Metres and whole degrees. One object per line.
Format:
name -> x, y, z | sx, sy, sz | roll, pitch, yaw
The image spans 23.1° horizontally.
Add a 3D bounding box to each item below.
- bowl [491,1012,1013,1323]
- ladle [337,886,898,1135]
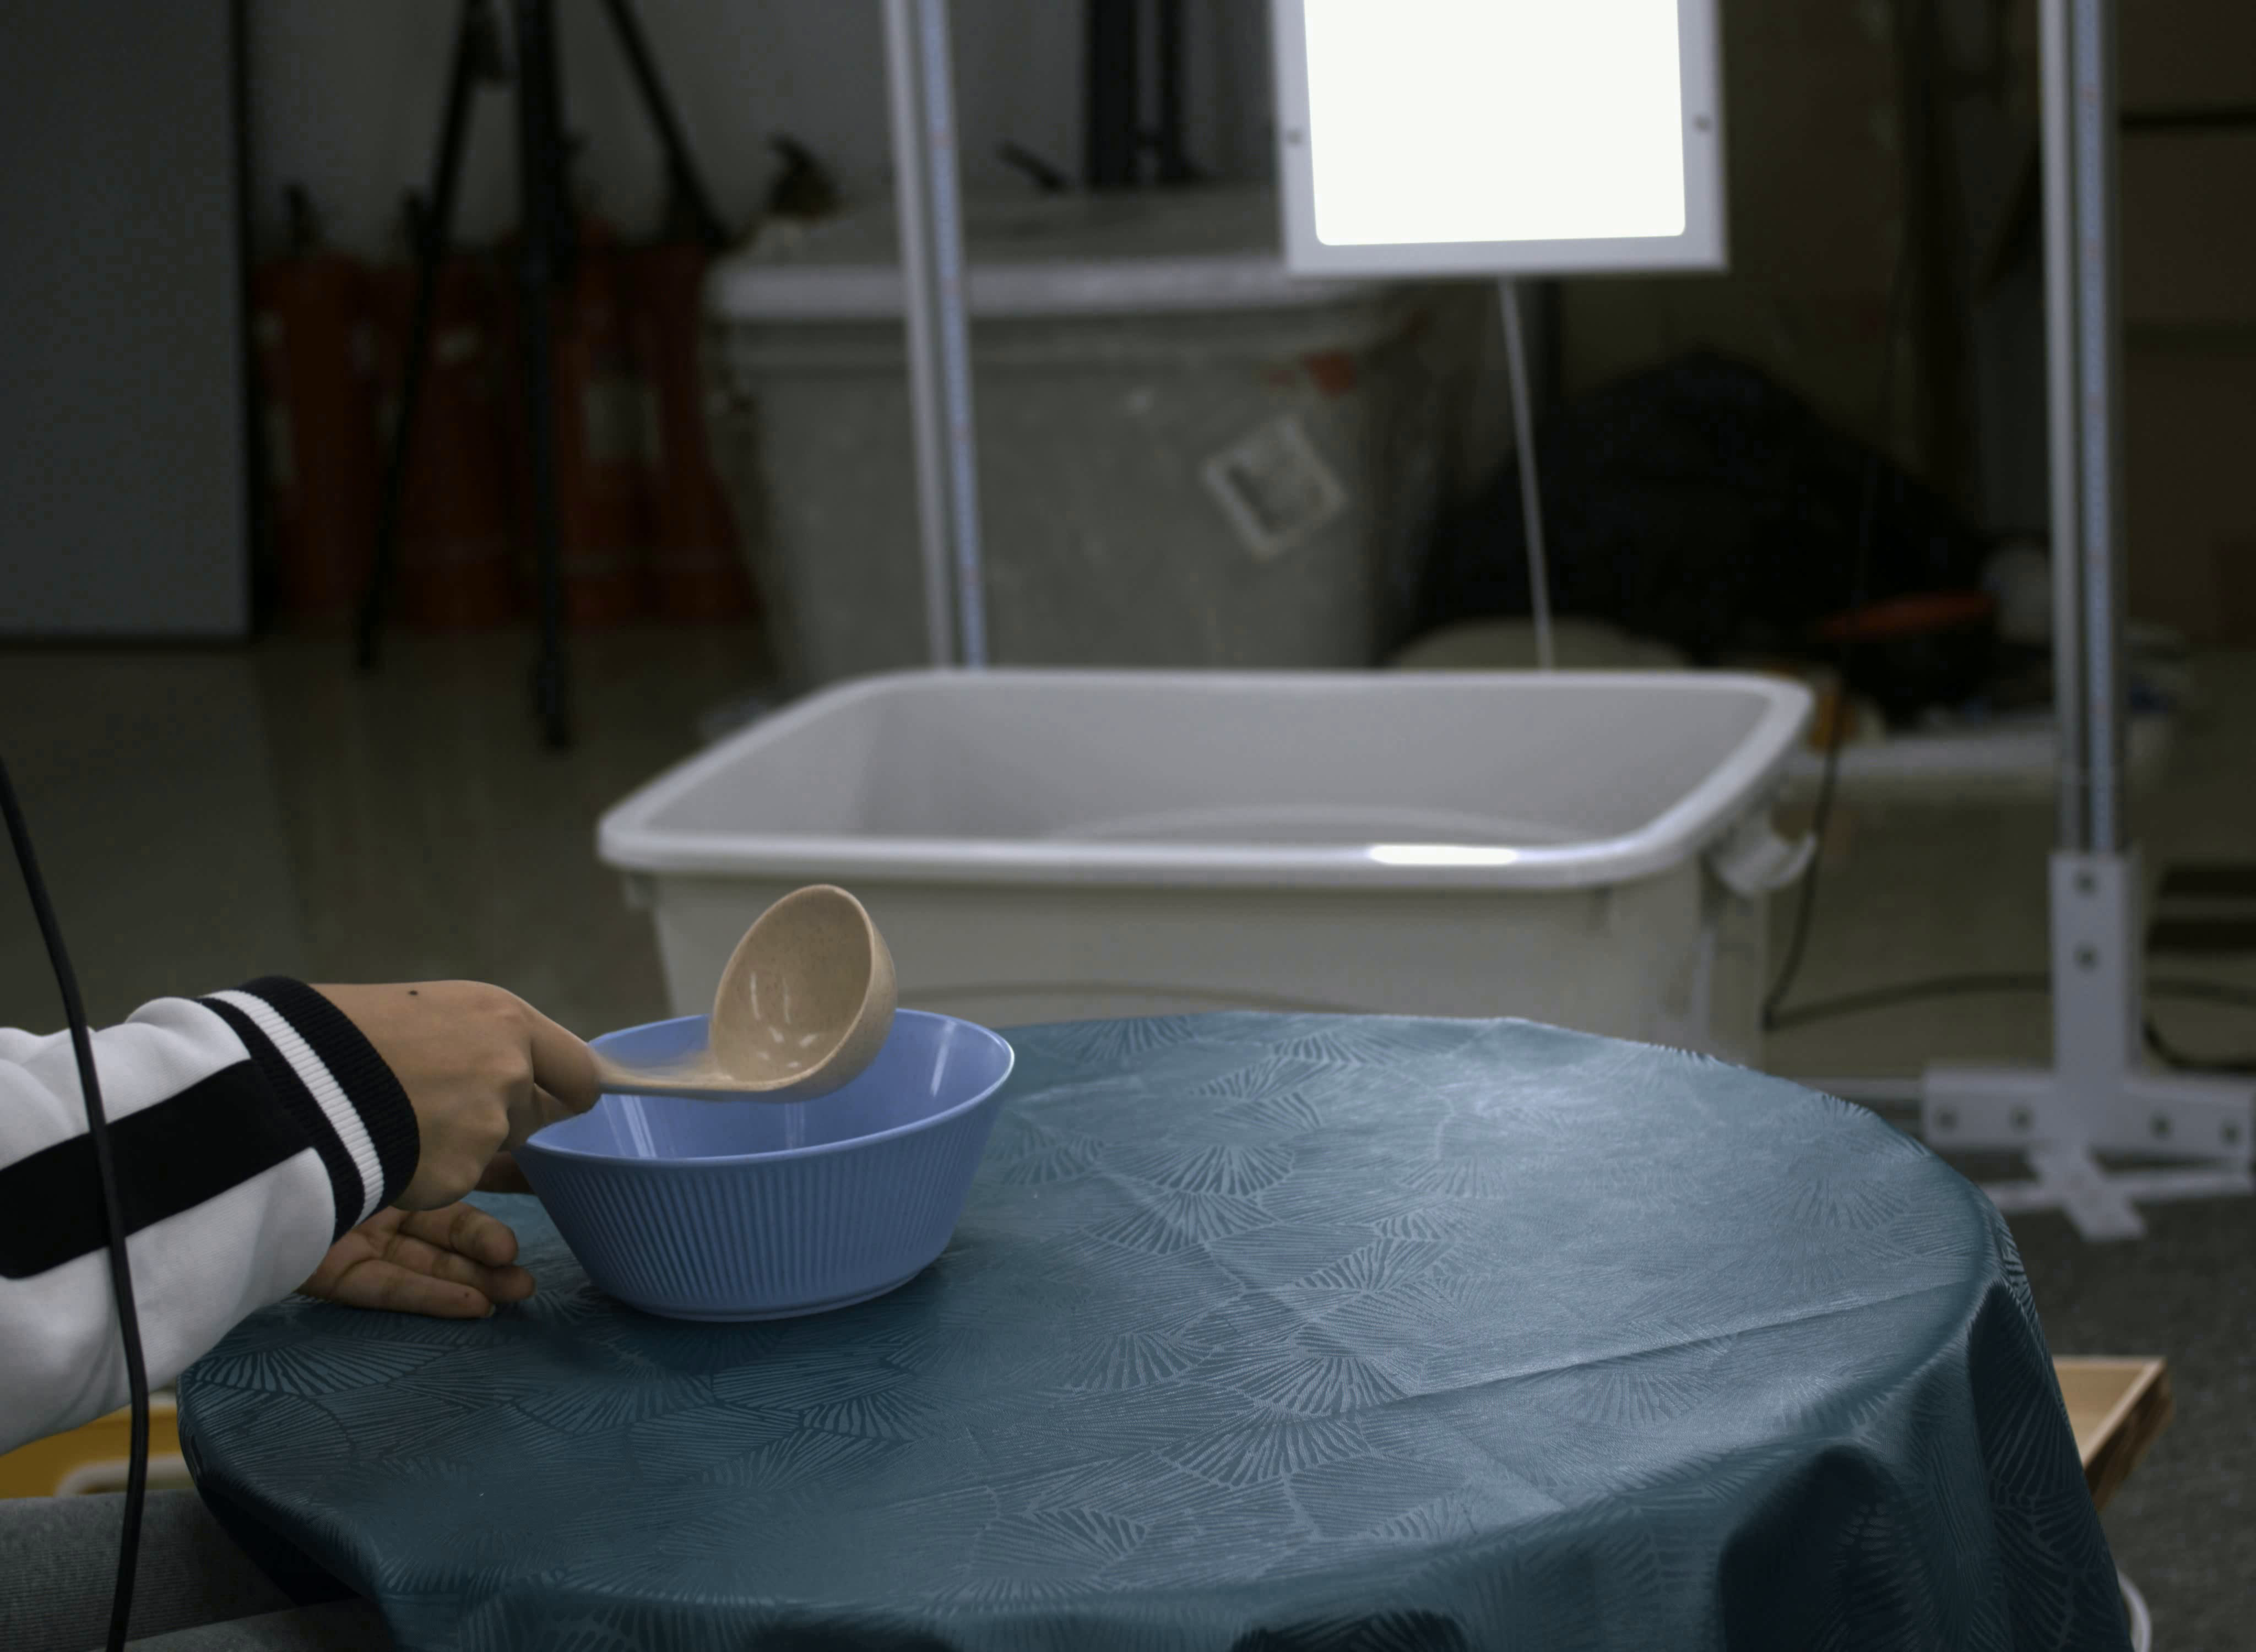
bowl -> -0.122, 0.116, 1.839 | 0.175, 0.070, 0.176 | -5, 13, 0
ladle -> -0.166, 0.056, 1.745 | 0.073, 0.073, 0.248 | -17, -10, 35
